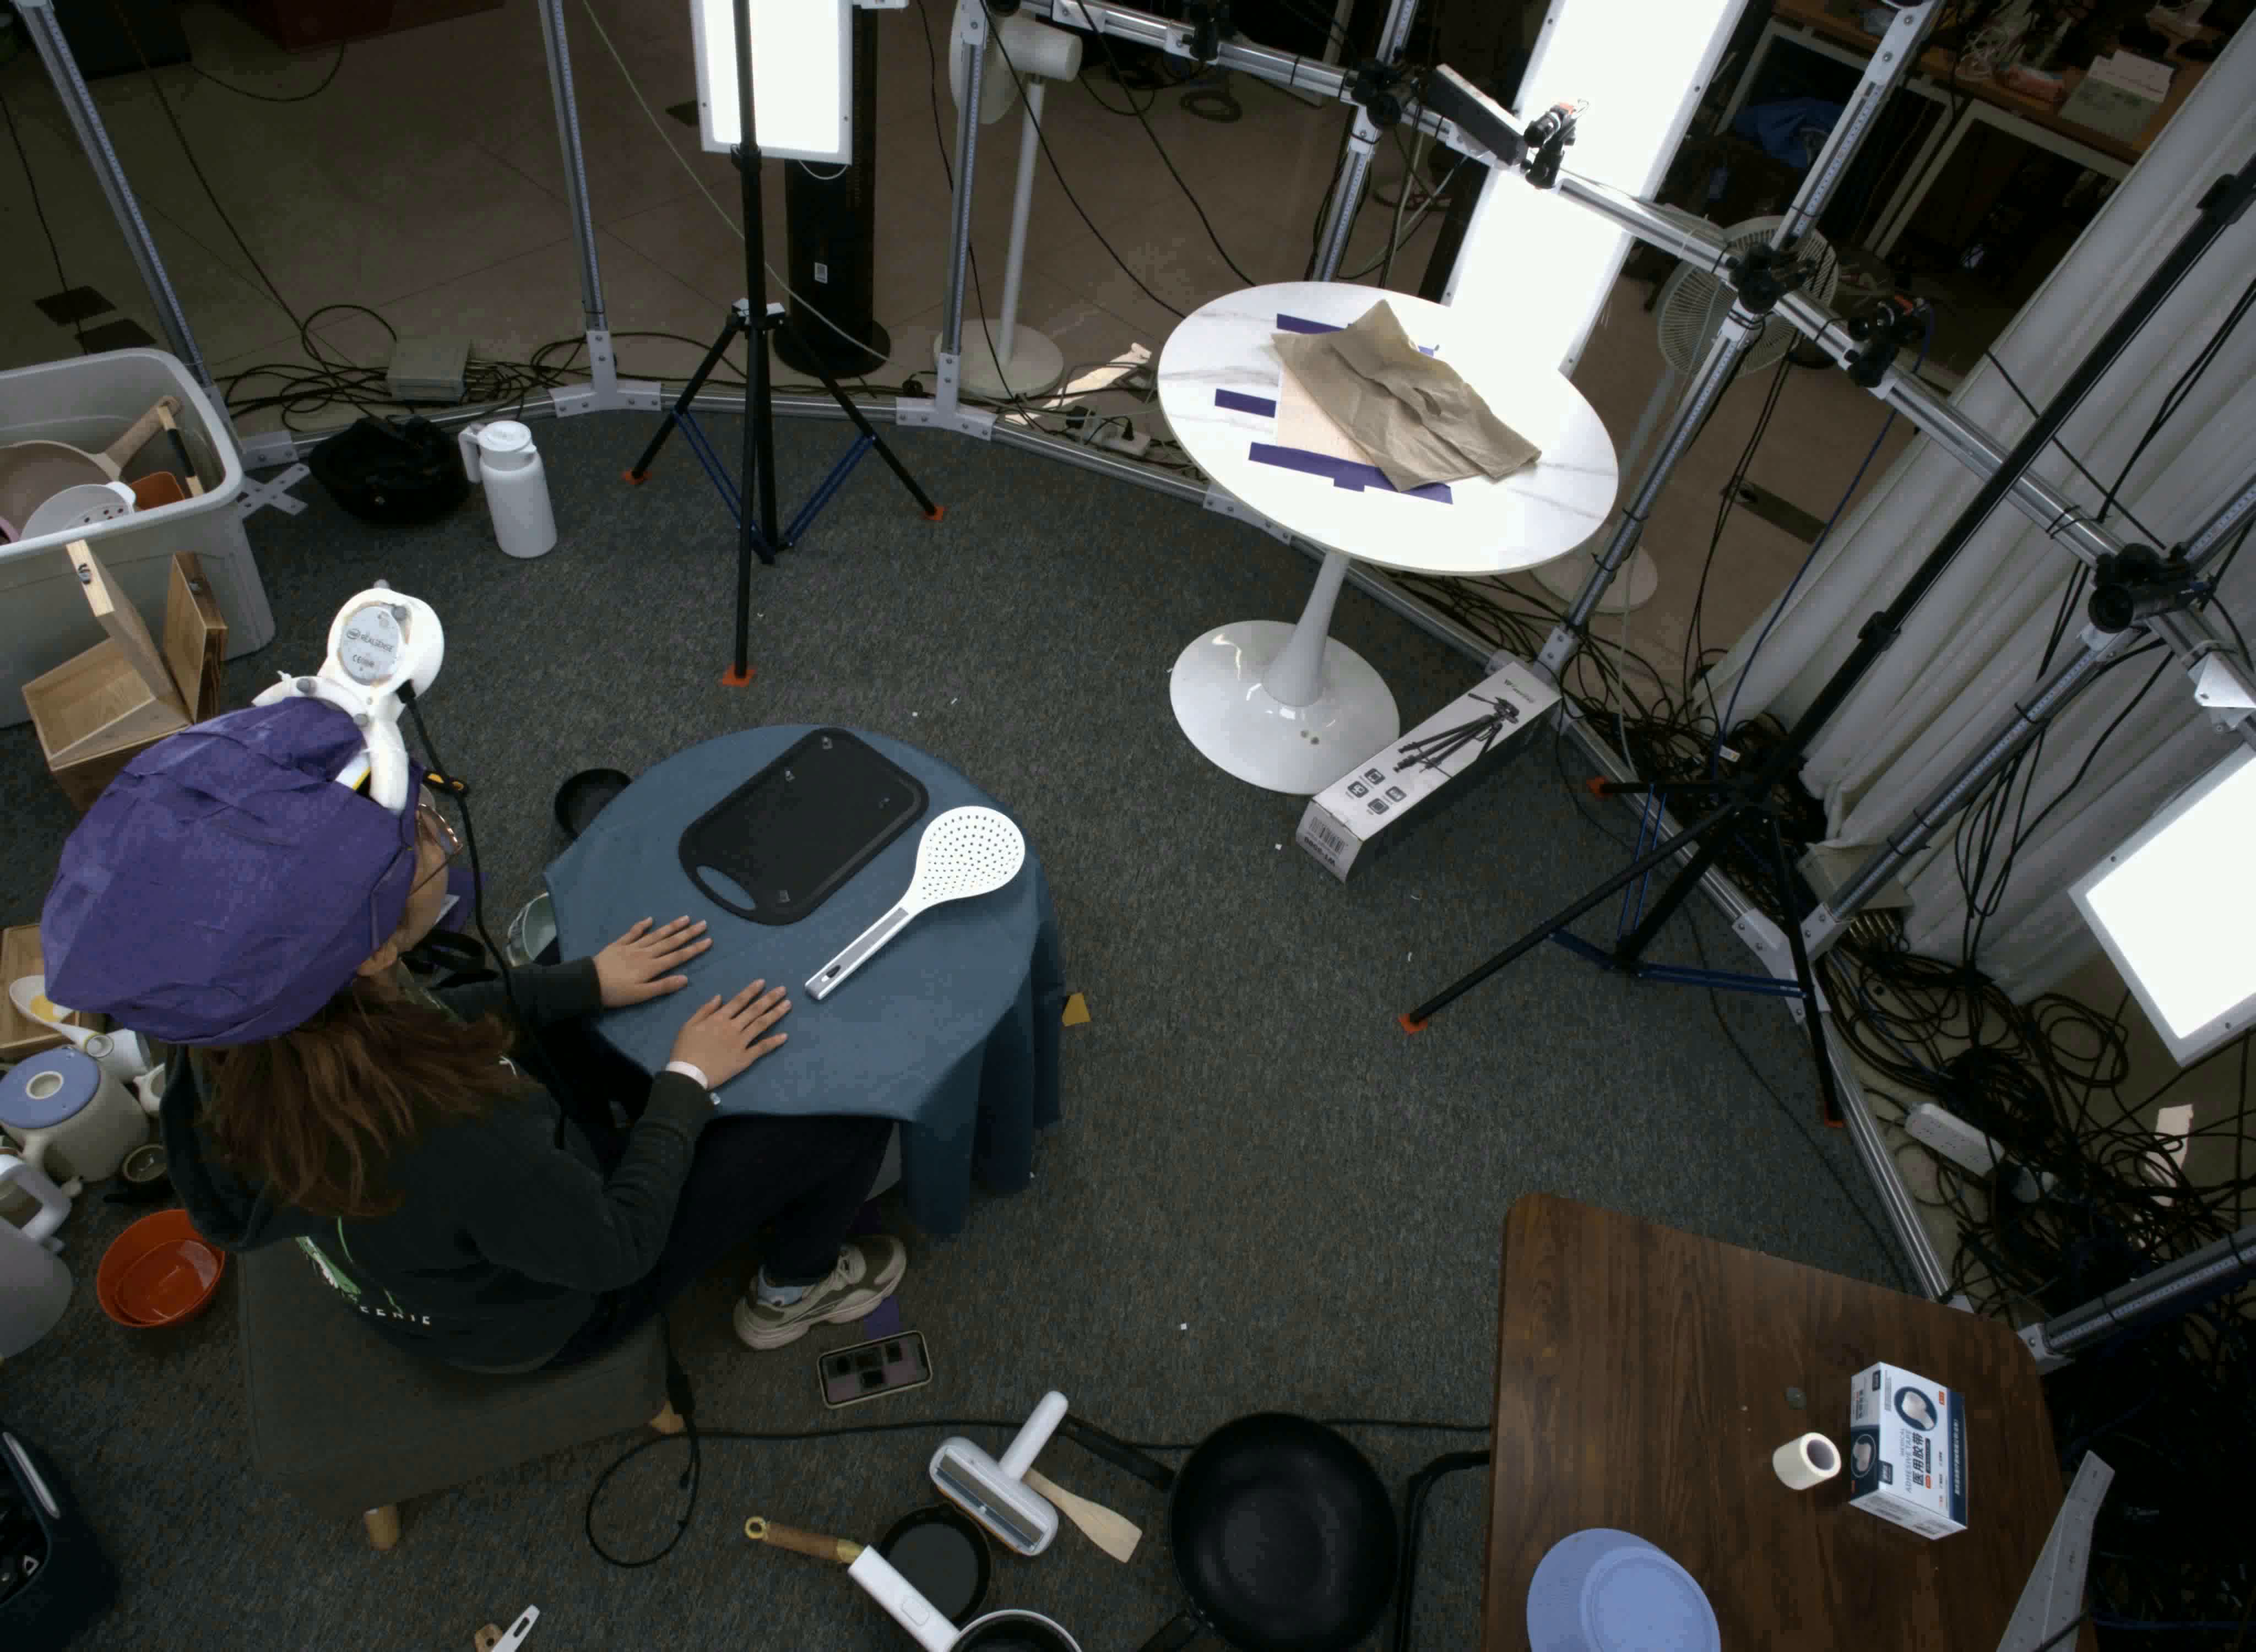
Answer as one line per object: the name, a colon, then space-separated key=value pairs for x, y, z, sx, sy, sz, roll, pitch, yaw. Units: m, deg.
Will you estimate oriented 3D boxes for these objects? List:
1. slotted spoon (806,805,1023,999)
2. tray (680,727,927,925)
slotted spoon: x=-0.274 y=0.097 z=1.666 sx=0.133 sy=0.047 sz=0.350 roll=37 pitch=55 yaw=17
tray: x=-0.433 y=-0.004 z=1.726 sx=0.207 sy=0.010 sz=0.325 roll=35 pitch=54 yaw=13
